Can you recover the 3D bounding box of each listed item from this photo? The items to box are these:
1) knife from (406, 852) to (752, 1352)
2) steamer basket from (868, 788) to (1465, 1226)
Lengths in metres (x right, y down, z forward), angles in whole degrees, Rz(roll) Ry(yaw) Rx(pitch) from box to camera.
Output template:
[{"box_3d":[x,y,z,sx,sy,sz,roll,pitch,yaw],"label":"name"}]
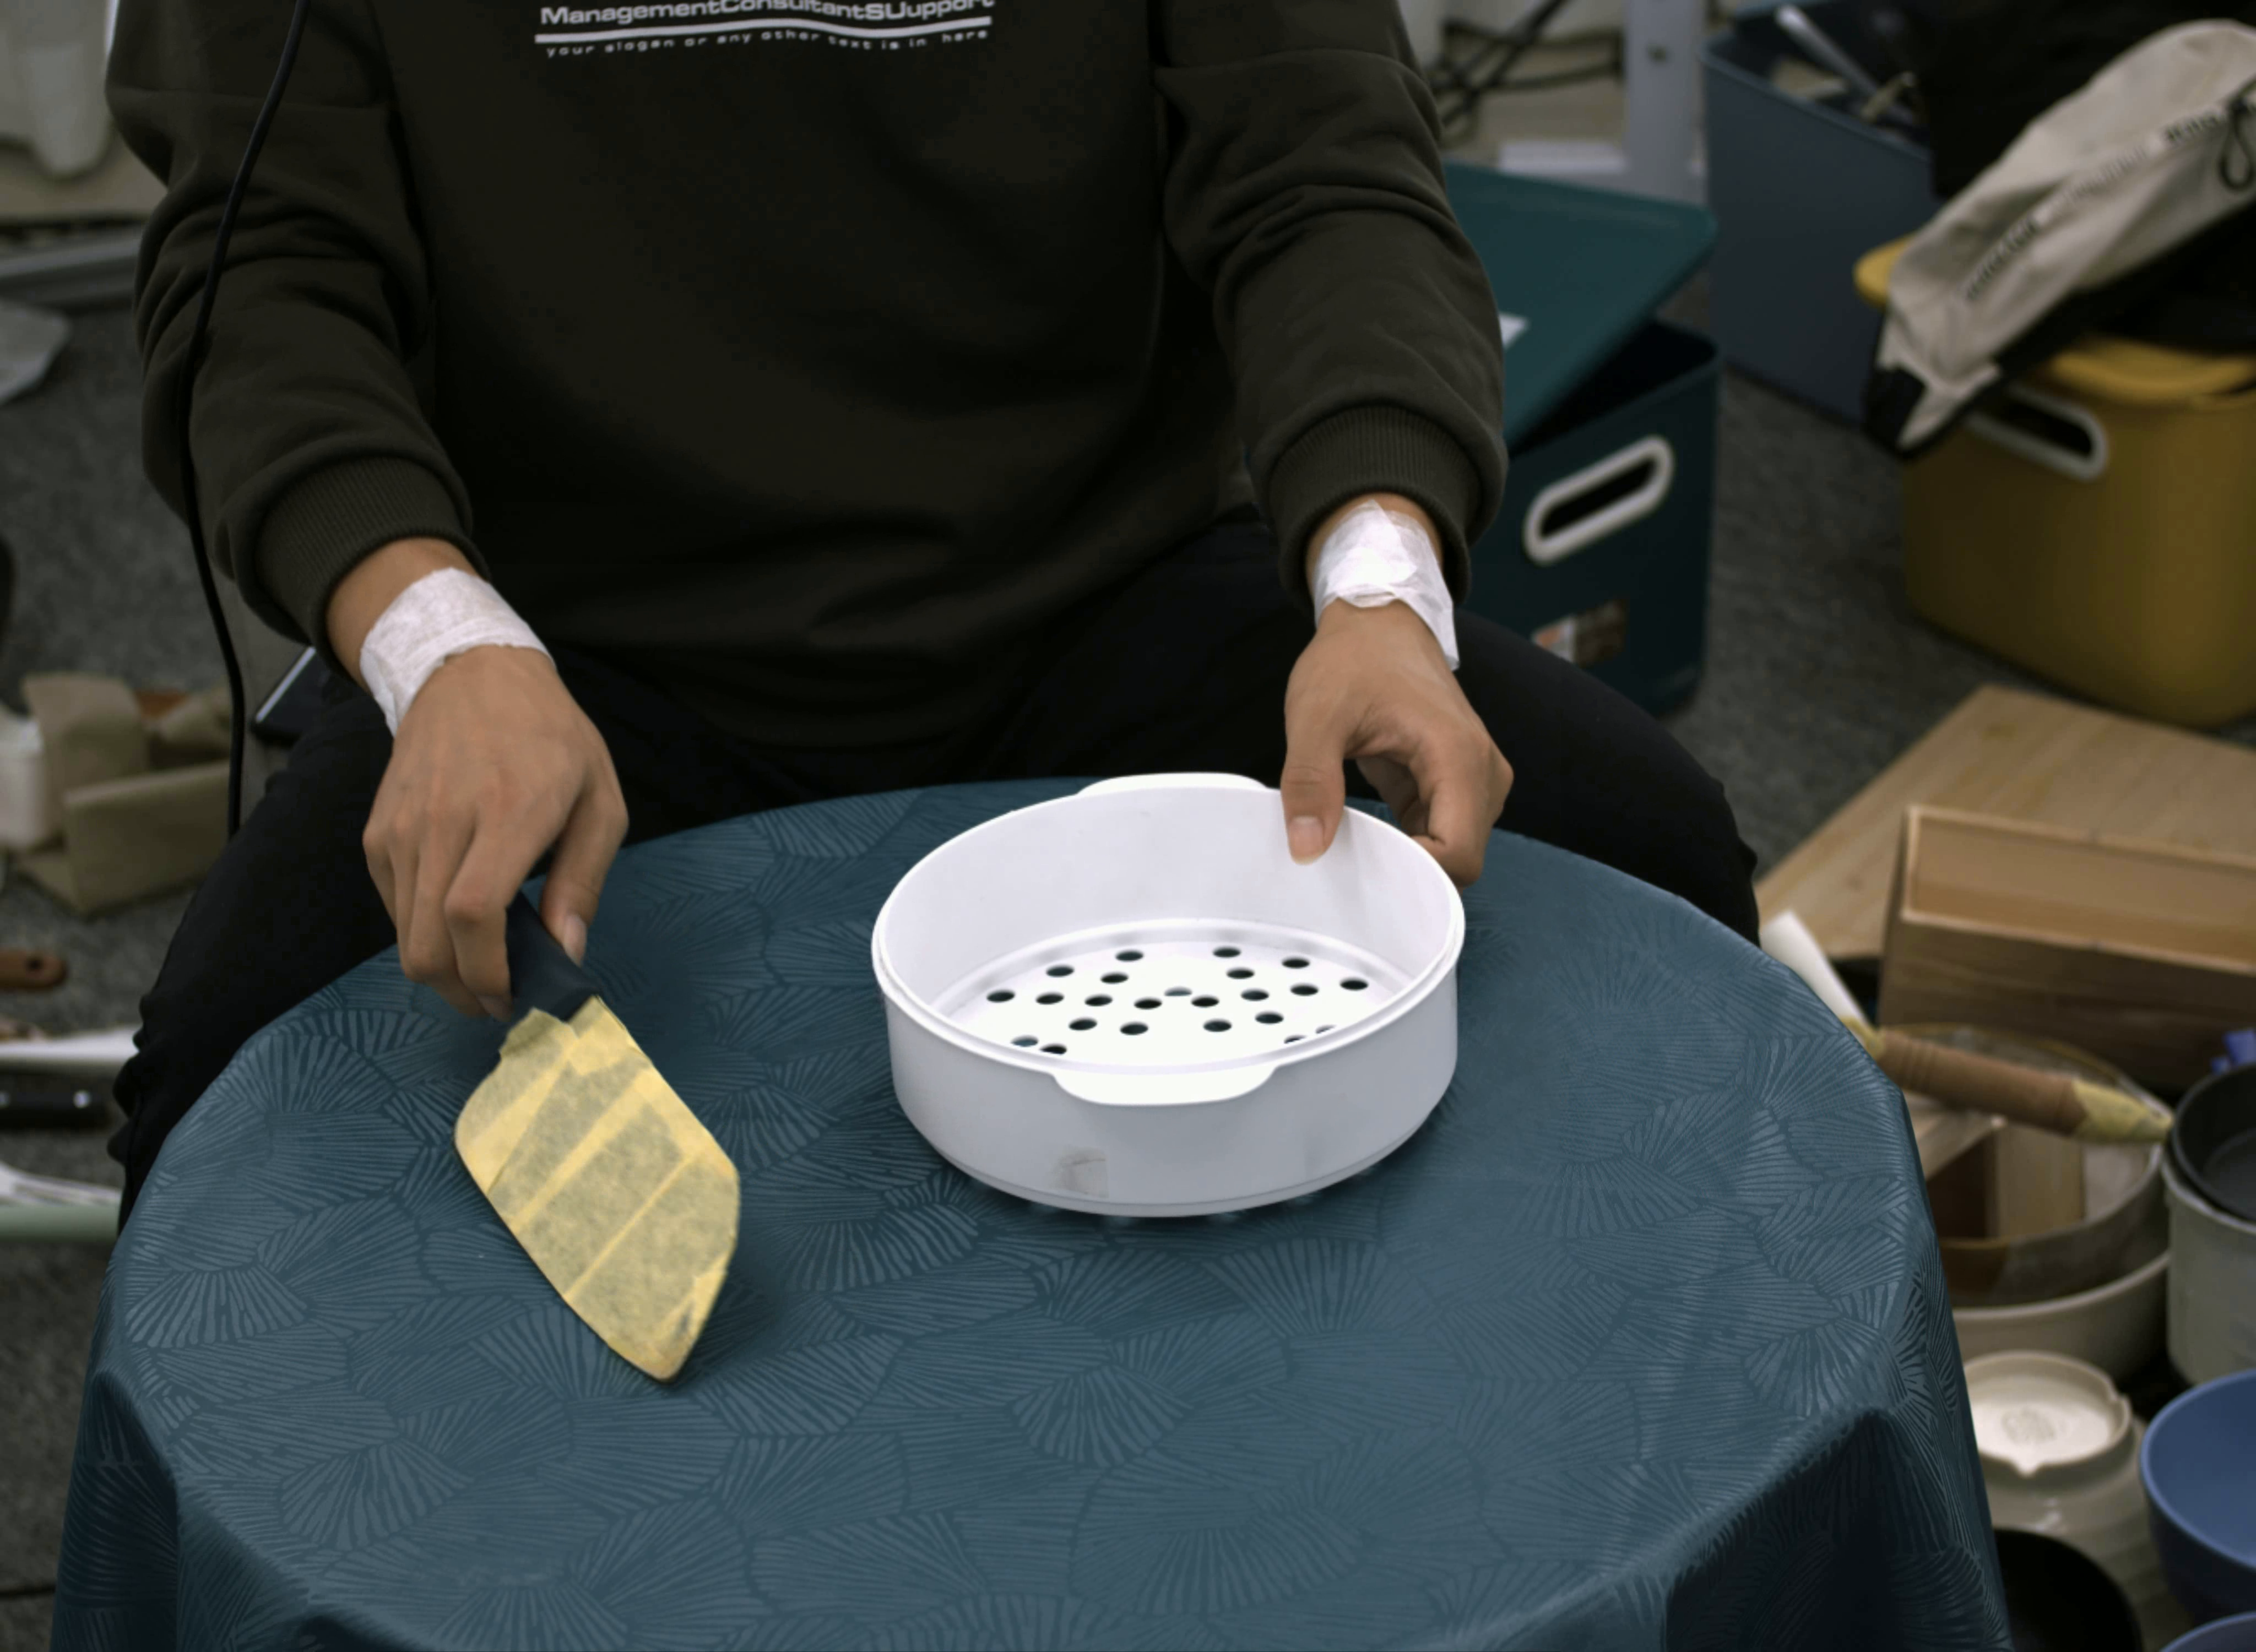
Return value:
[{"box_3d":[-0.193,0.090,1.876,0.081,0.027,0.292,-43,39,1],"label":"knife"},{"box_3d":[0.014,0.062,1.903,0.201,0.068,0.234,-1,26,2],"label":"steamer basket"}]
